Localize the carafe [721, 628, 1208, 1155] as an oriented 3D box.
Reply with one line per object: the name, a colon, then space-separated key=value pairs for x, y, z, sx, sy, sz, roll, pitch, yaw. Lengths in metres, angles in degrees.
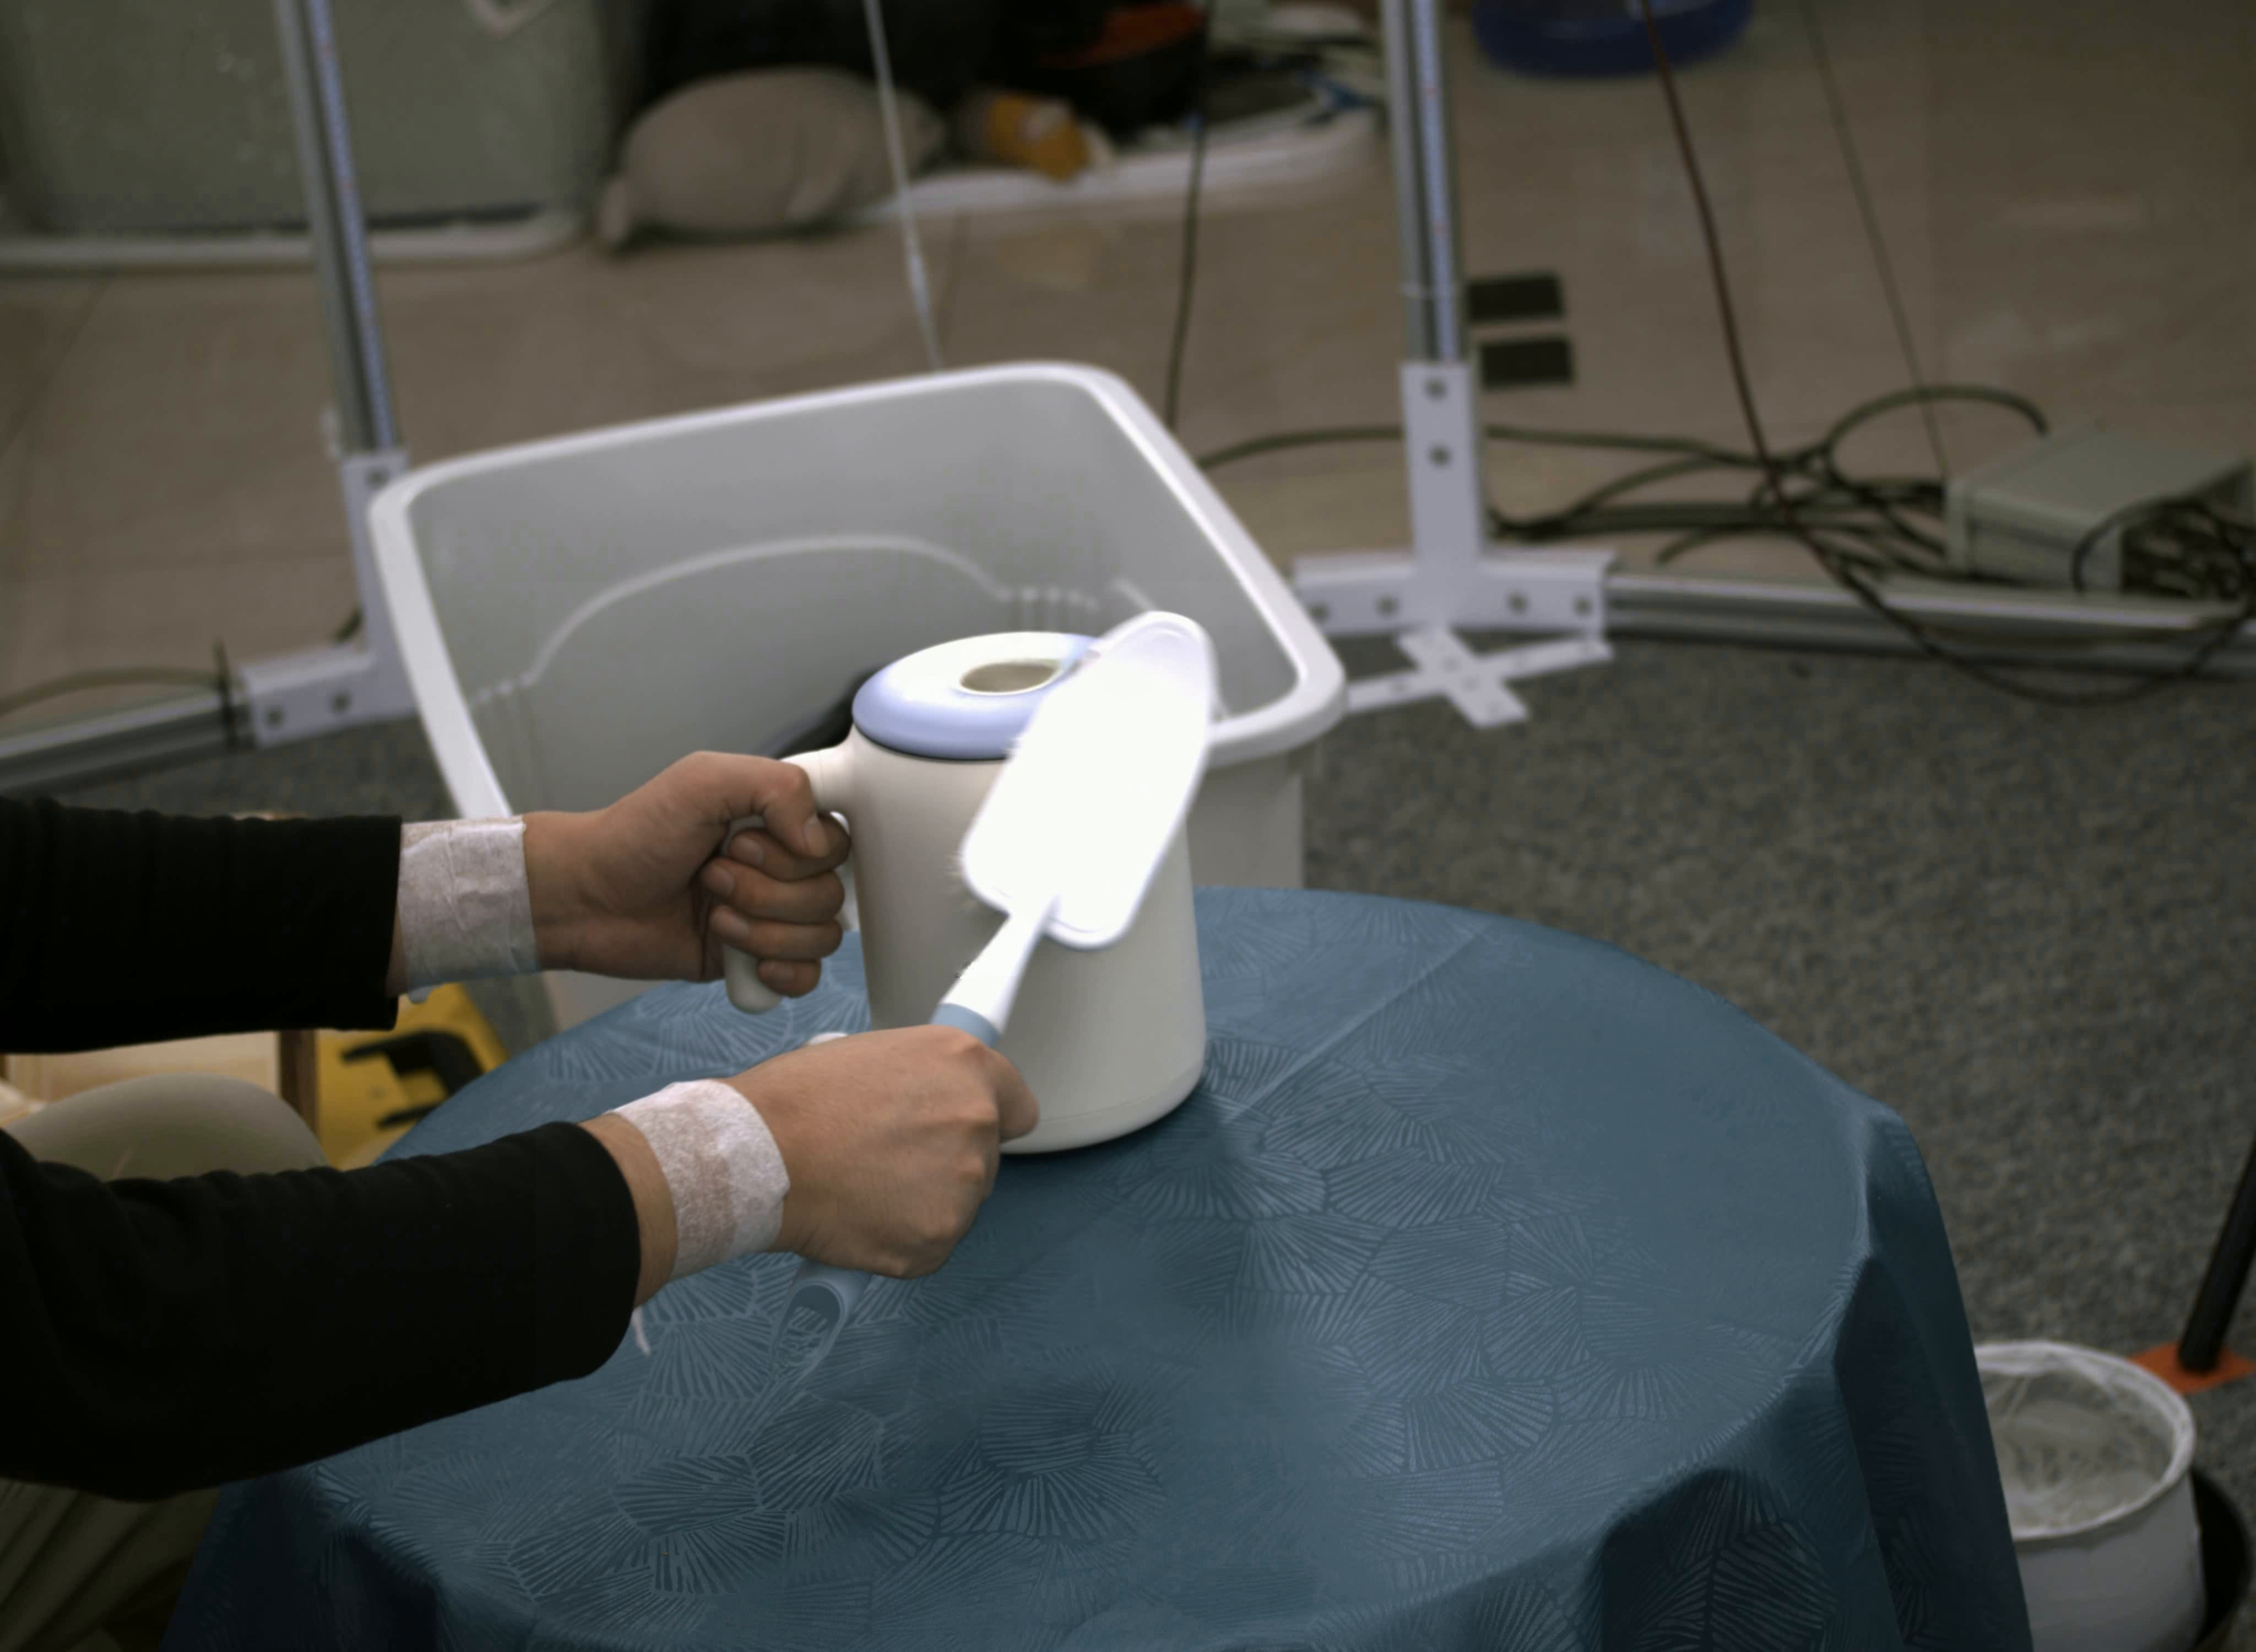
carafe: x=-0.064 y=0.029 z=2.189 sx=0.190 sy=0.185 sz=0.130 roll=-10 pitch=24 yaw=-7

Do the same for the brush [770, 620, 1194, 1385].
brush: x=-0.060 y=0.066 z=2.046 sx=0.082 sy=0.086 sz=0.322 roll=9 pitch=62 yaw=35
